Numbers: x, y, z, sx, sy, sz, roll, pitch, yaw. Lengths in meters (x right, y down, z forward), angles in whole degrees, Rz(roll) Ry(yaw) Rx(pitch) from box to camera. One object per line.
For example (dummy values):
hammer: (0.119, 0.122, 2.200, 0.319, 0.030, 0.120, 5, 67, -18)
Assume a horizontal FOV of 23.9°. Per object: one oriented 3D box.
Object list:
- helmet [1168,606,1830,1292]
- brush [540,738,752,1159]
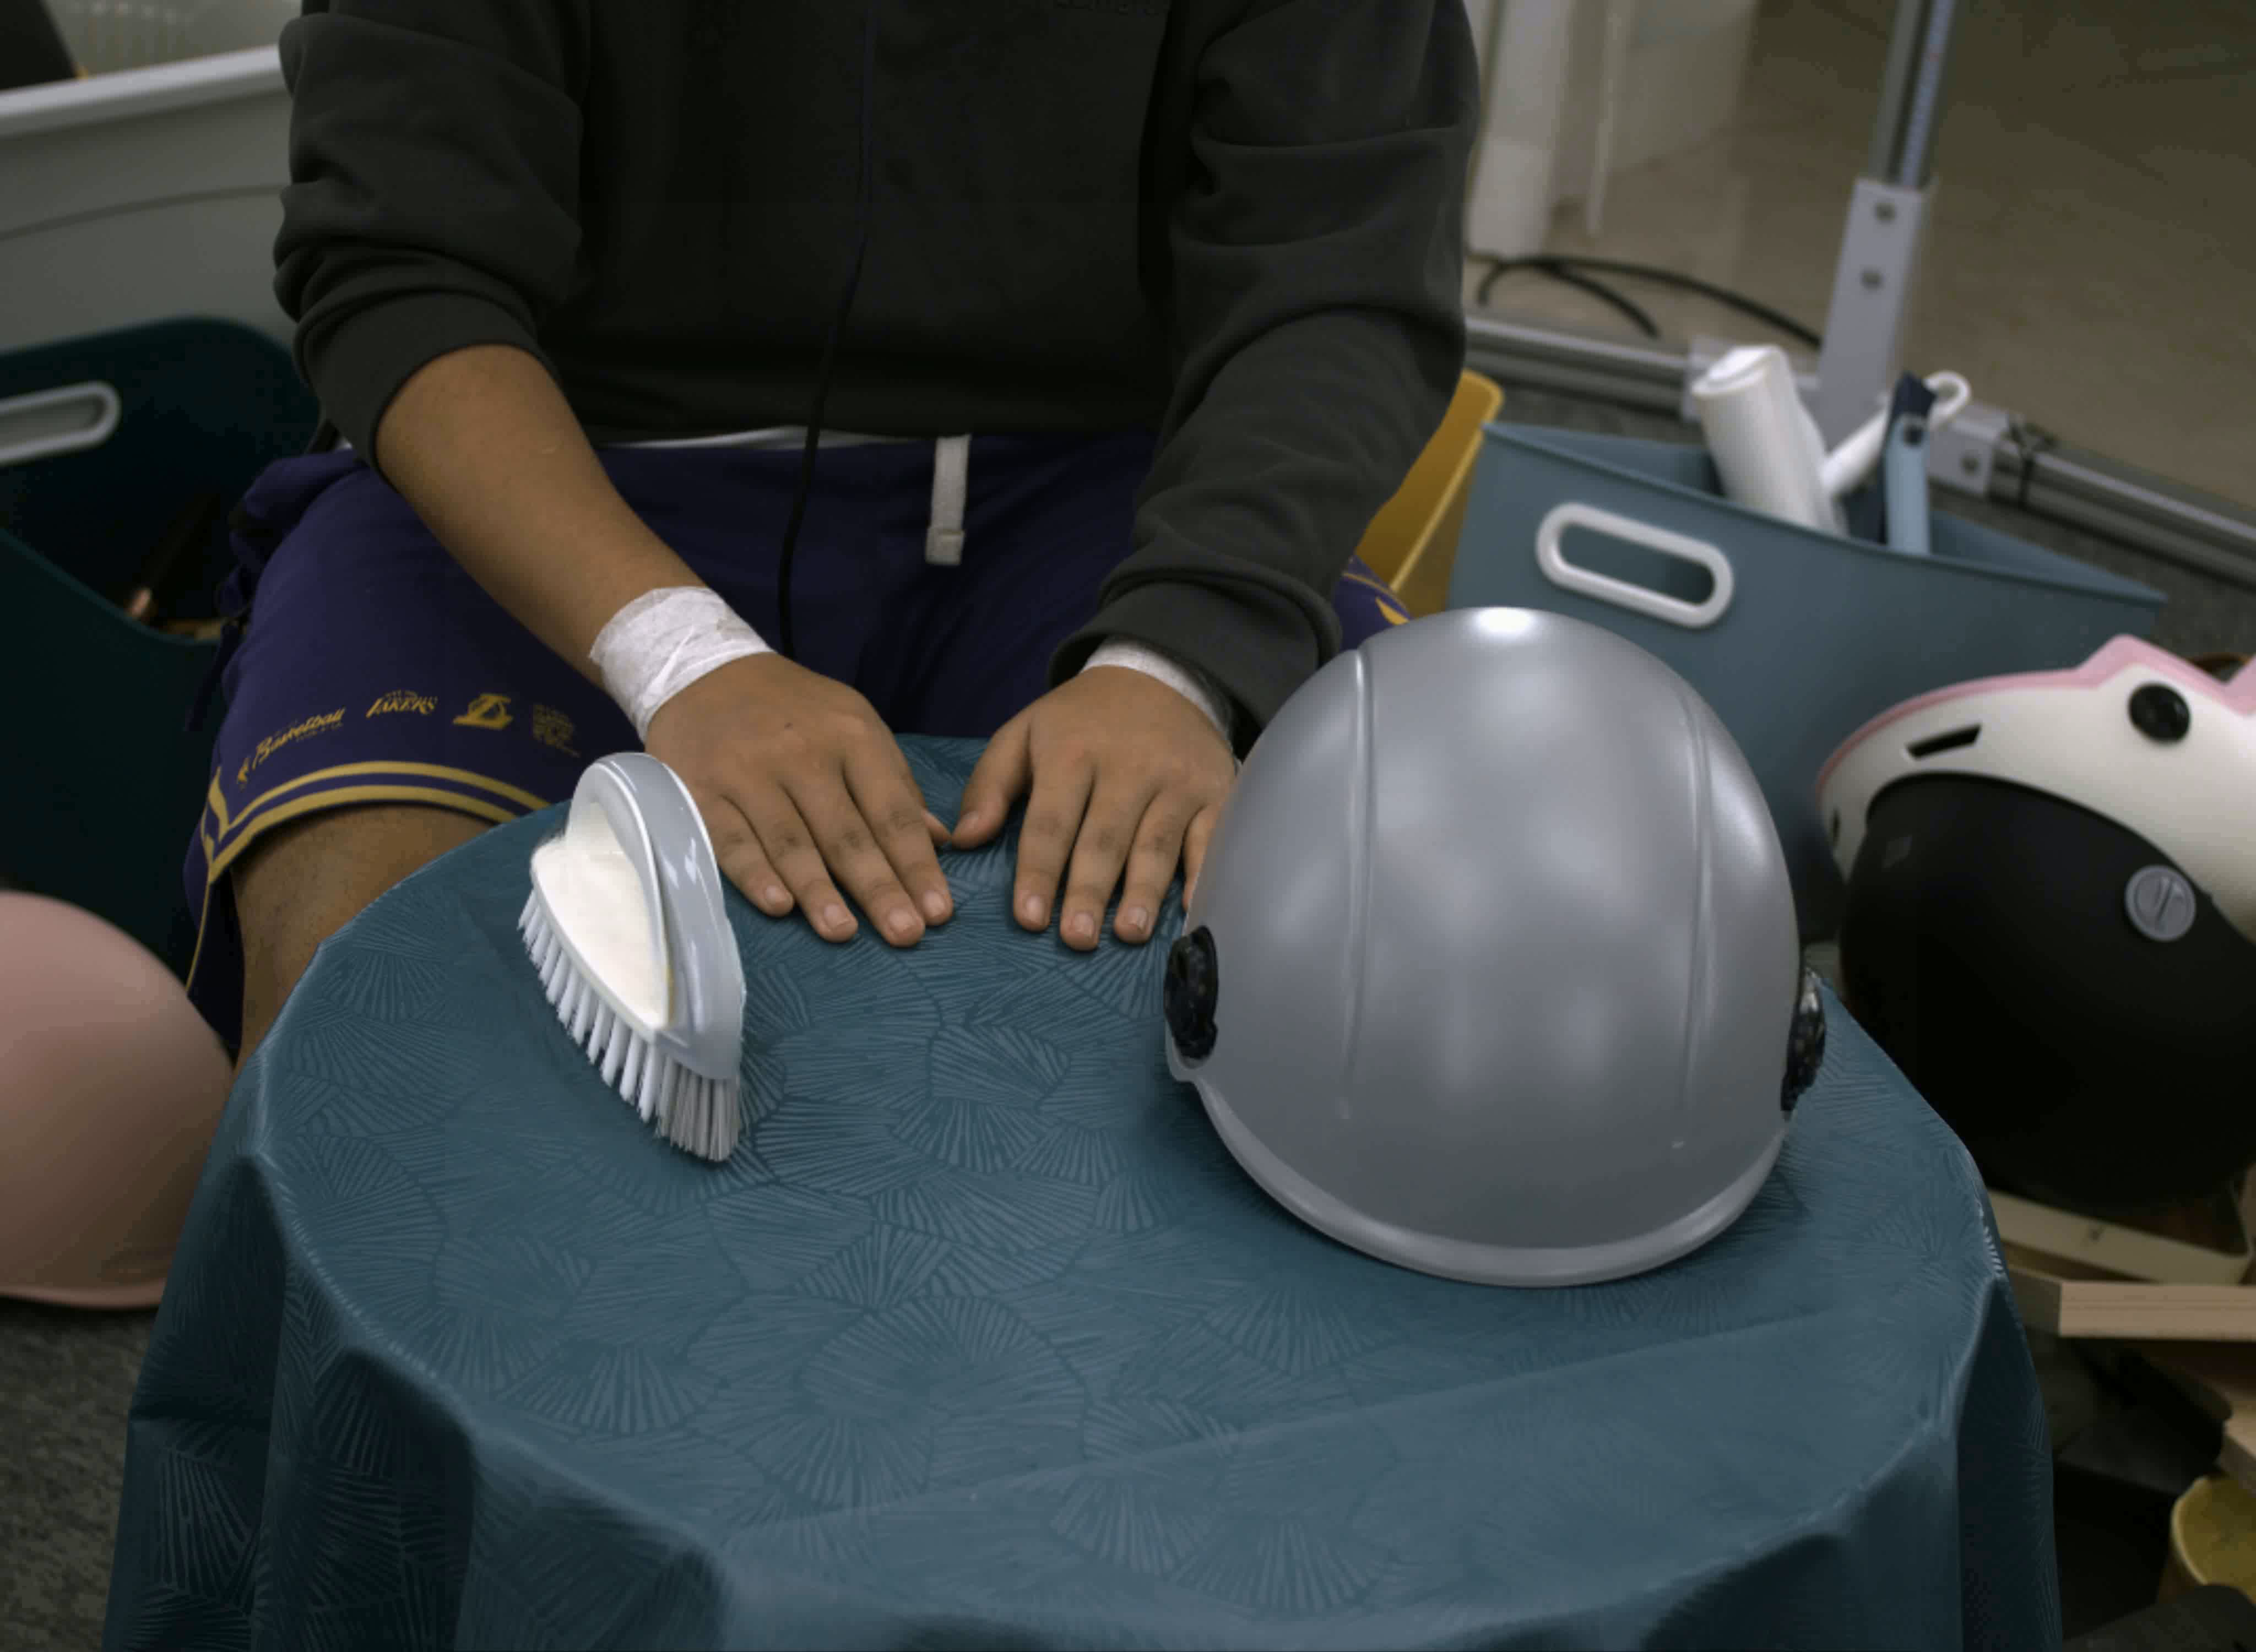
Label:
helmet: (0.132, 0.021, 1.854, 0.231, 0.168, 0.278, 5, 29, -2)
brush: (-0.159, 0.034, 1.841, 0.061, 0.094, 0.177, -4, 31, -19)
